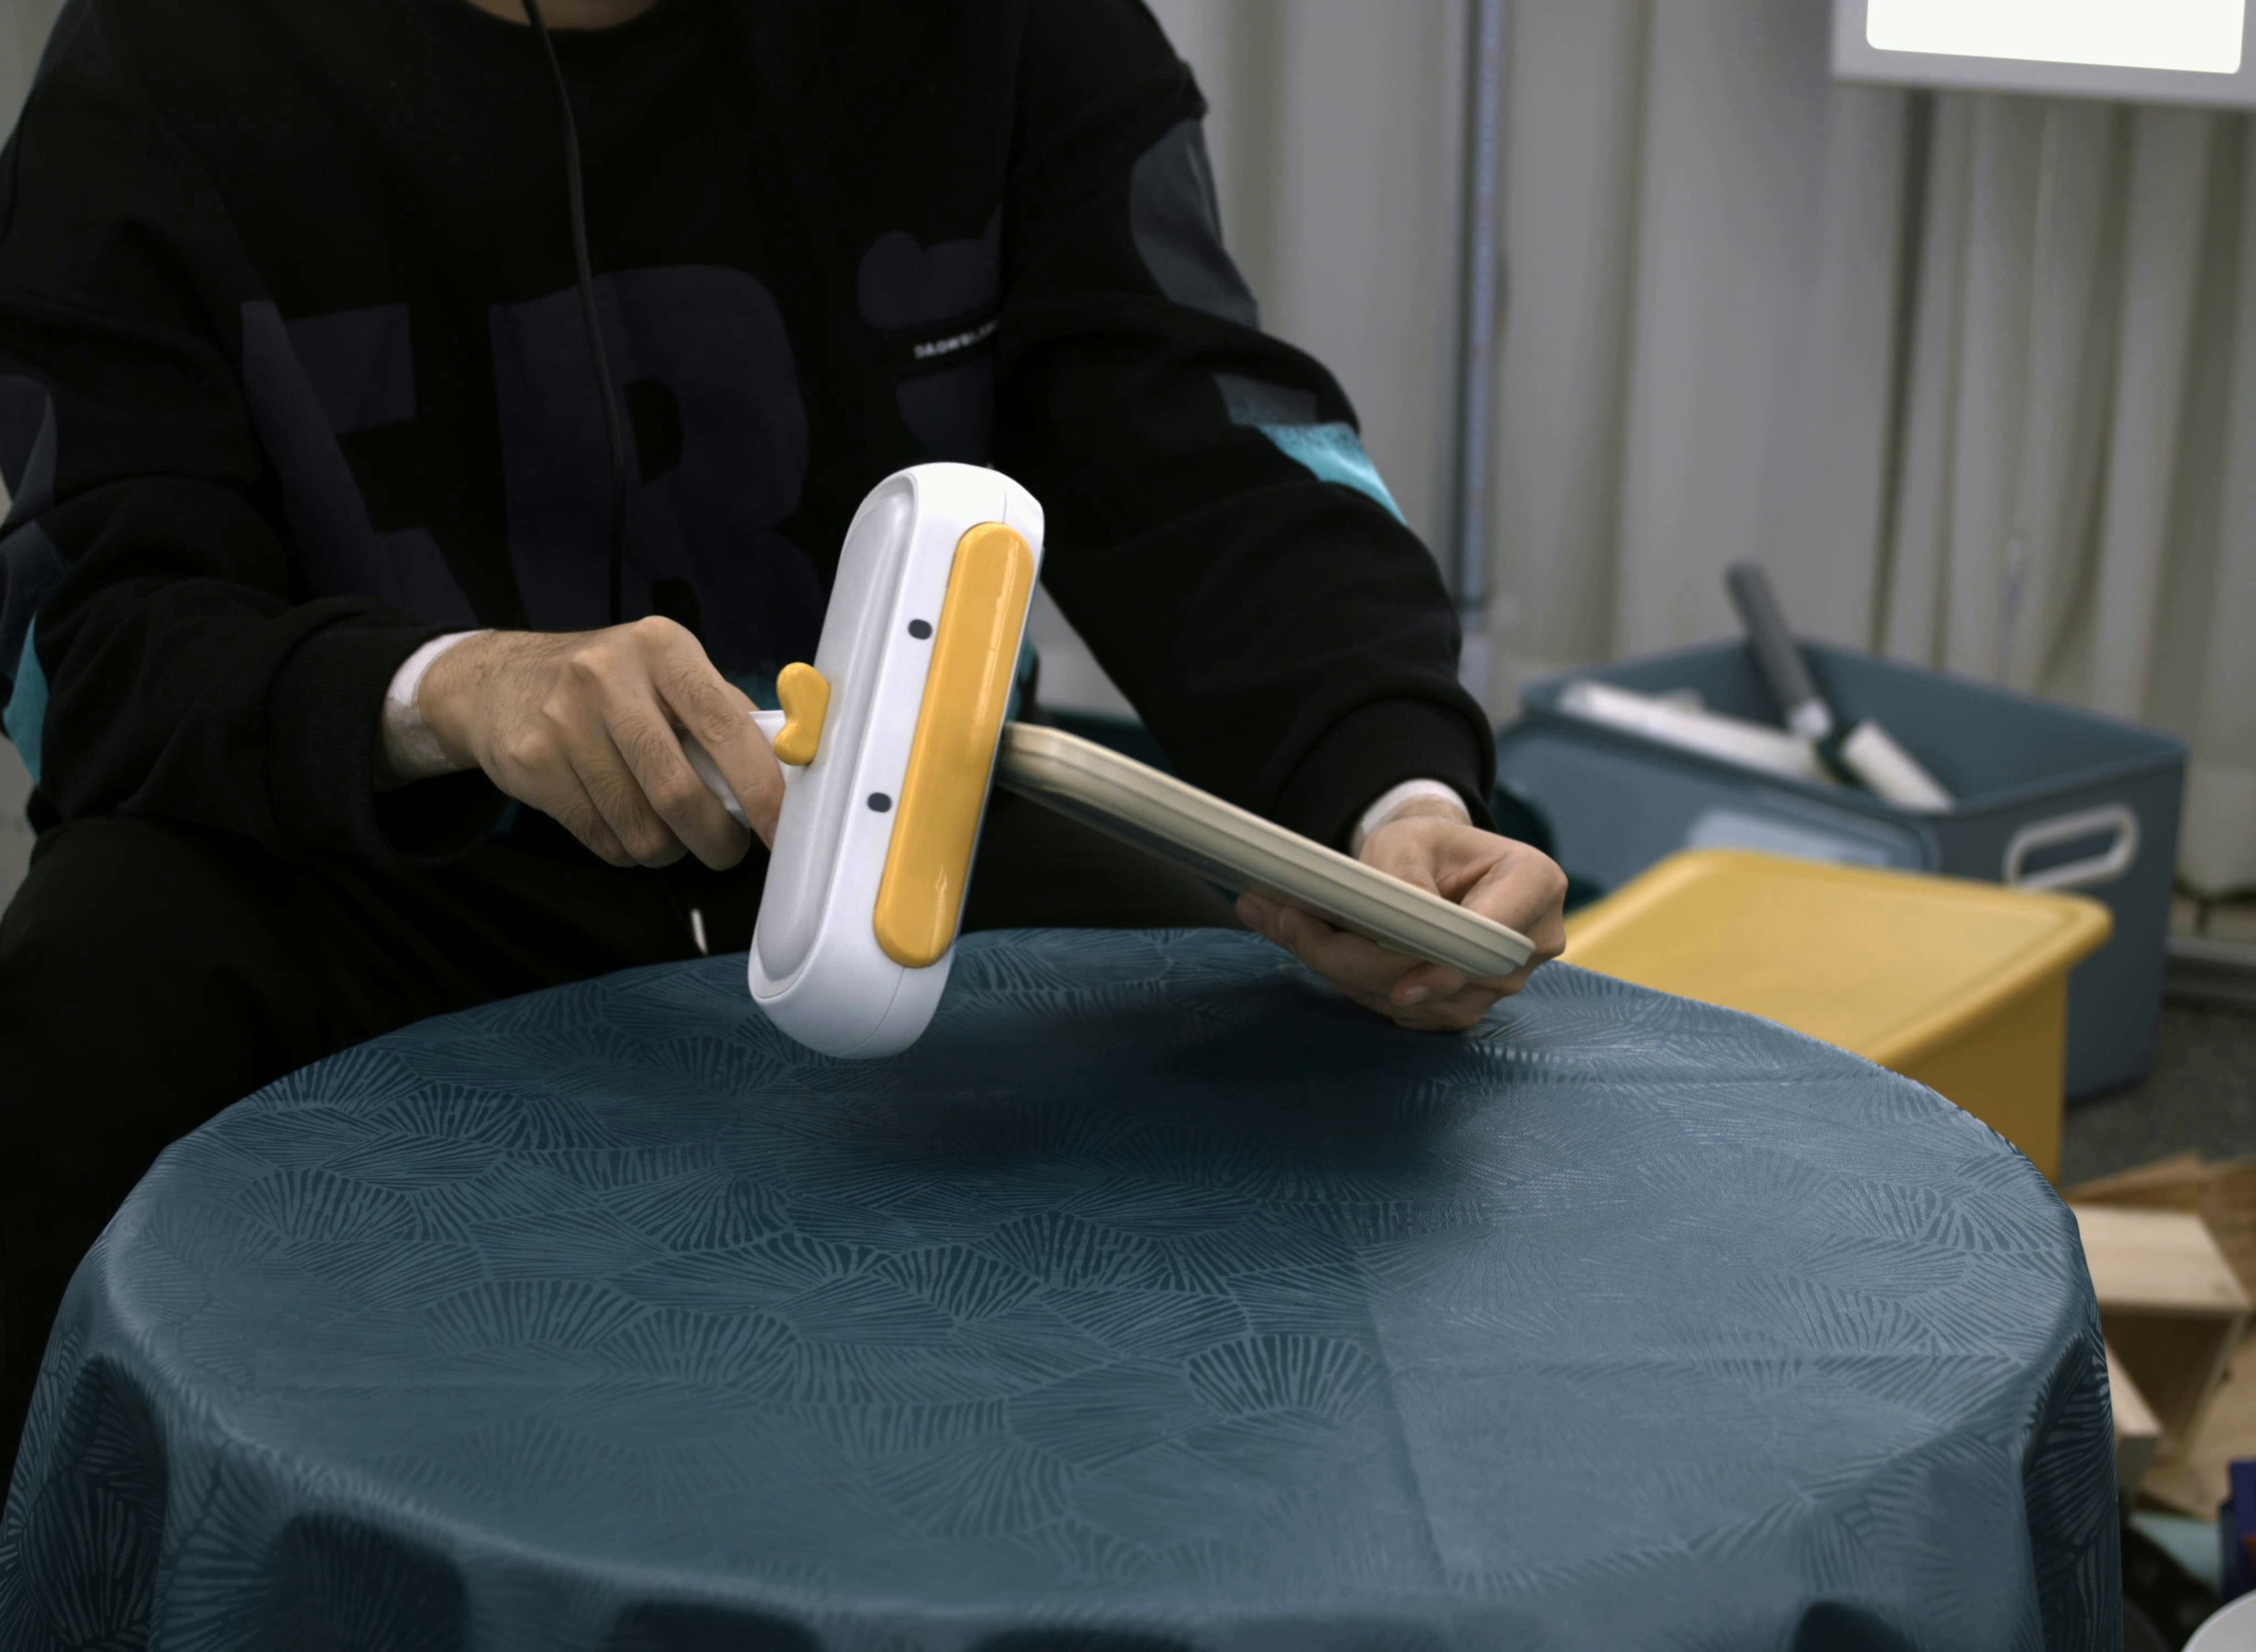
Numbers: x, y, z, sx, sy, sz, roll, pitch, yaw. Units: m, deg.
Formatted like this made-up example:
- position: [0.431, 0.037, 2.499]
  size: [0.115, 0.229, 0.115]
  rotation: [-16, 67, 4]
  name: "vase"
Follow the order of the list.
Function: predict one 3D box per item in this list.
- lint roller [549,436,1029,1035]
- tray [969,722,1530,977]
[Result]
- position: [-0.112, -0.021, 1.680]
  size: [0.075, 0.192, 0.191]
  rotation: [17, -20, -34]
  name: "lint roller"
- position: [0.027, 0.006, 1.694]
  size: [0.172, 0.017, 0.238]
  rotation: [23, -2, -12]
  name: "tray"
